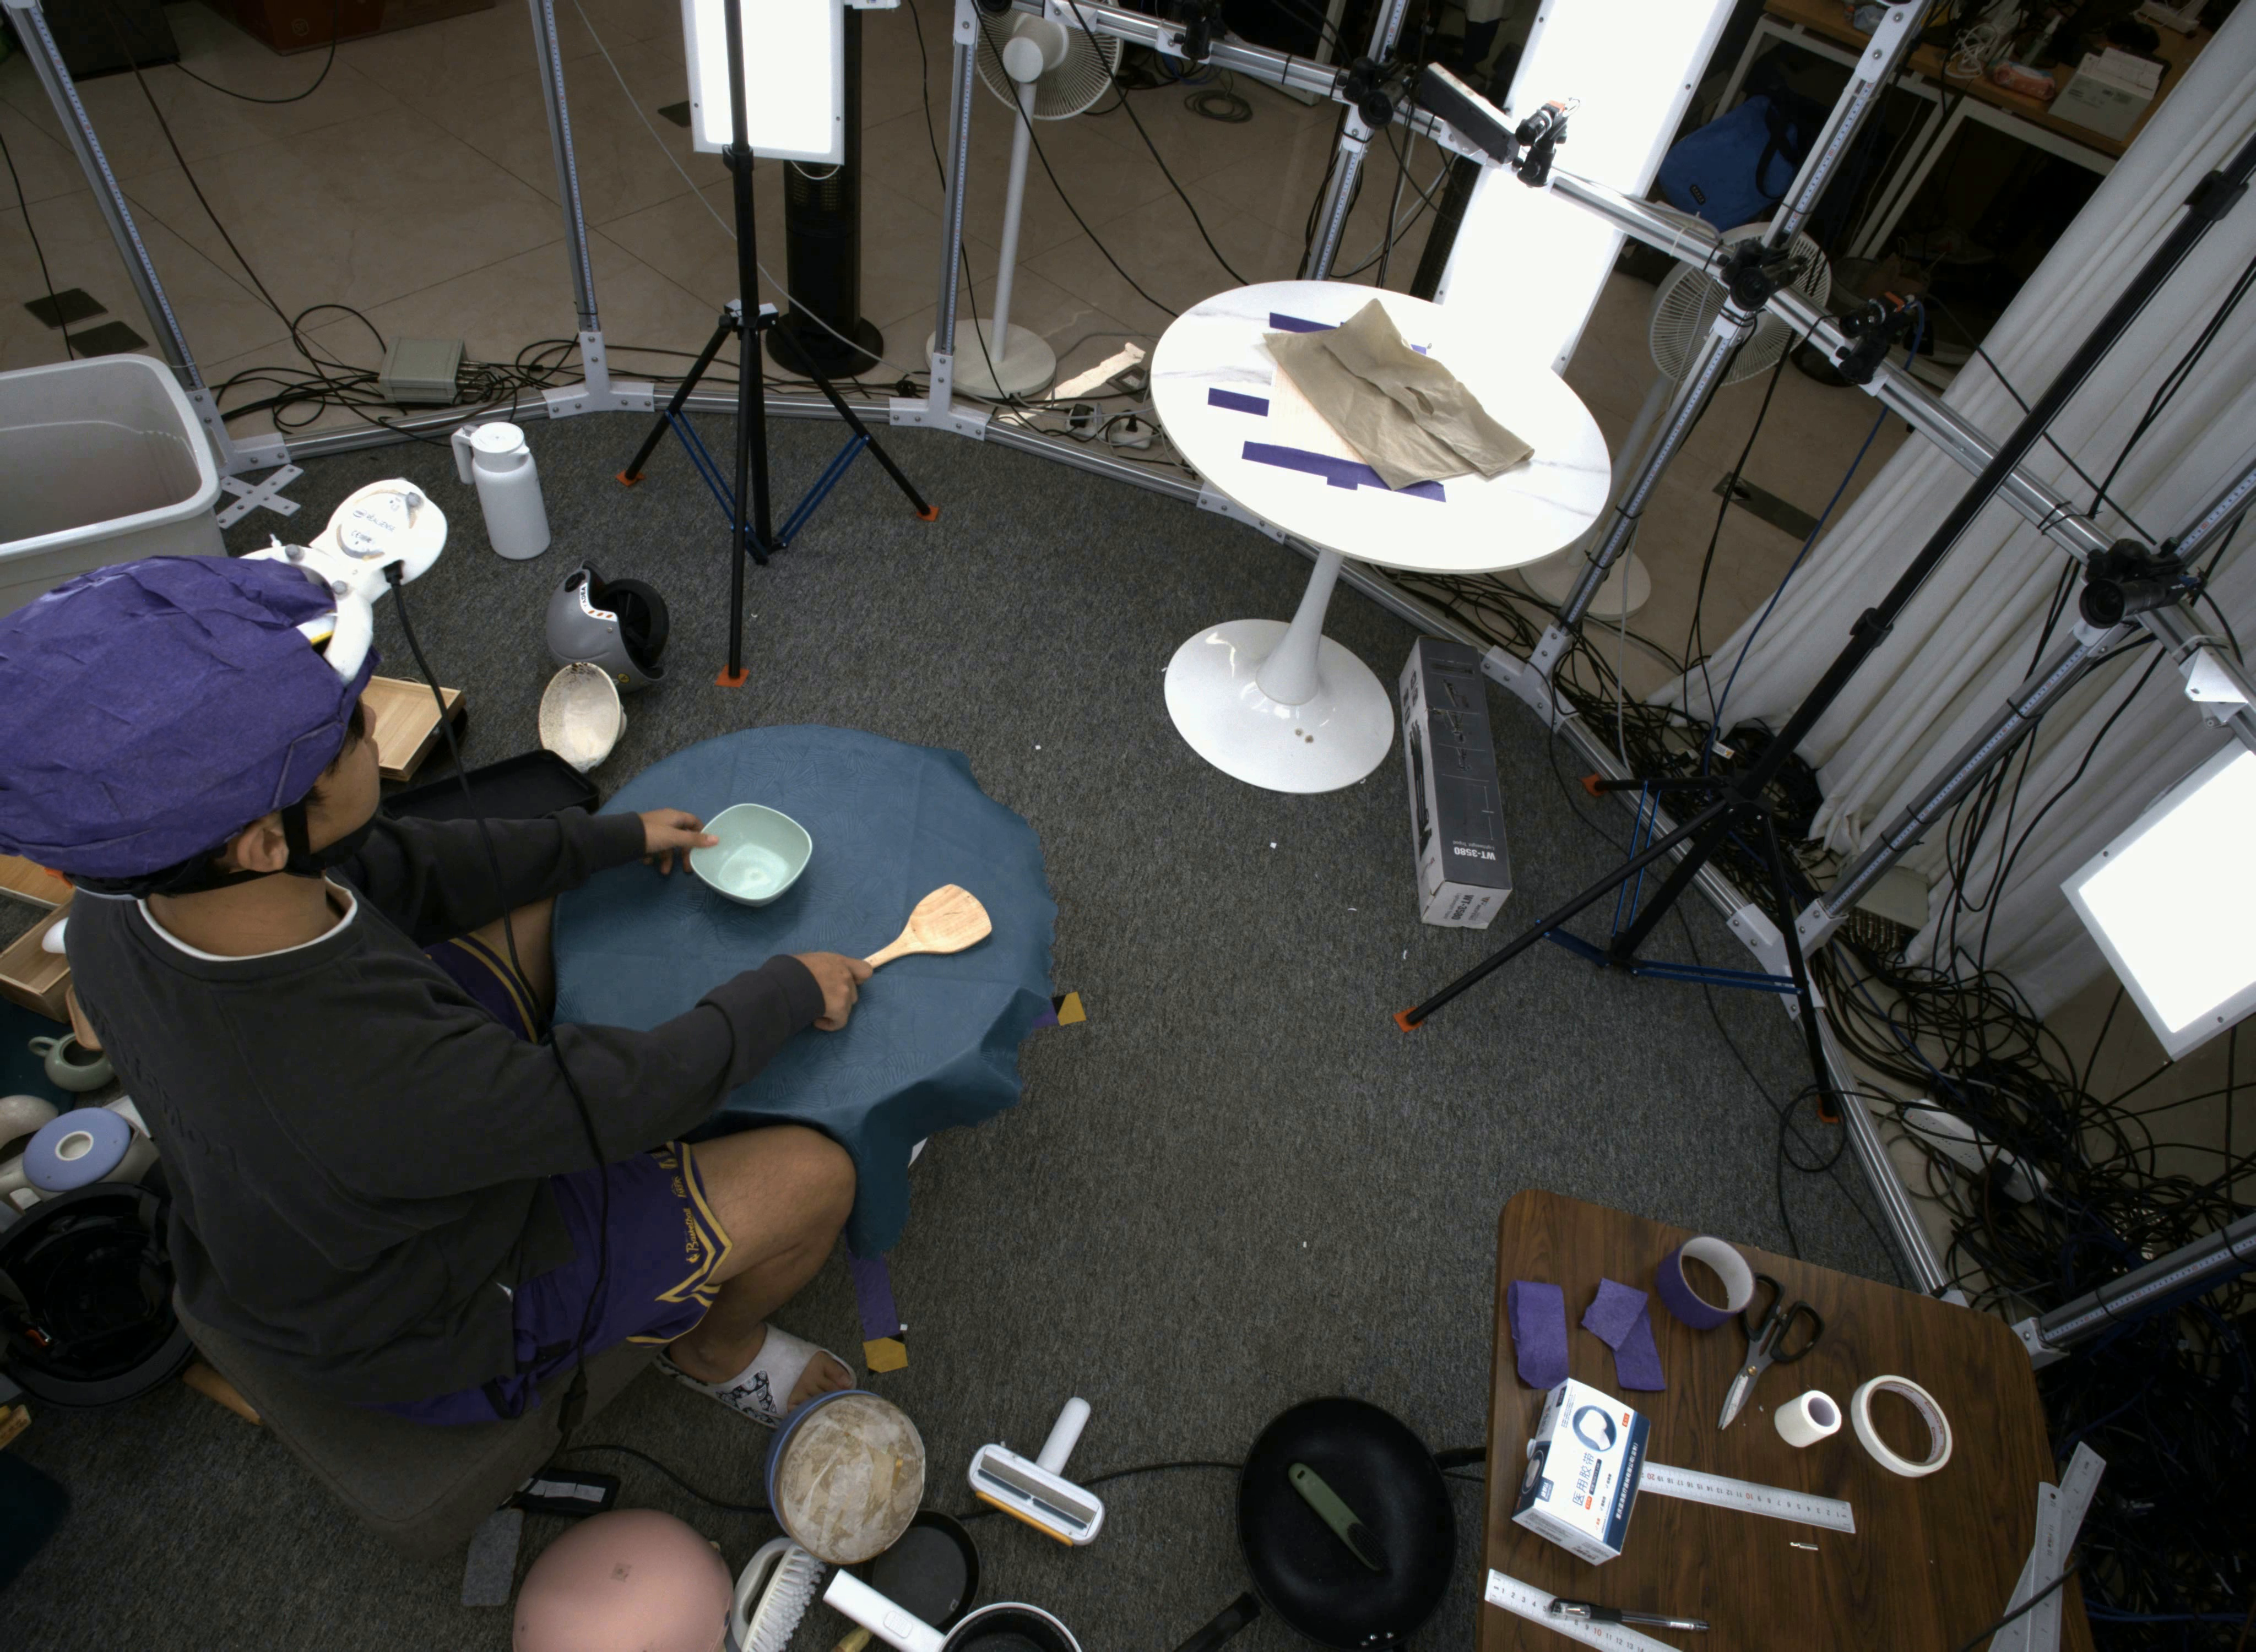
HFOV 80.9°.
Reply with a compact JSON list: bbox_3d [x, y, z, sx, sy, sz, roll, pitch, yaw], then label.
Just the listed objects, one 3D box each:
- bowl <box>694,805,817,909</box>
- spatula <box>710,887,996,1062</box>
[{"bbox_3d":[-0.472,0.048,1.645,0.151,0.060,0.148,9,50,-9],"label":"bowl"},{"bbox_3d":[-0.335,0.186,1.602,0.392,0.019,0.093,-29,63,-31],"label":"spatula"}]
